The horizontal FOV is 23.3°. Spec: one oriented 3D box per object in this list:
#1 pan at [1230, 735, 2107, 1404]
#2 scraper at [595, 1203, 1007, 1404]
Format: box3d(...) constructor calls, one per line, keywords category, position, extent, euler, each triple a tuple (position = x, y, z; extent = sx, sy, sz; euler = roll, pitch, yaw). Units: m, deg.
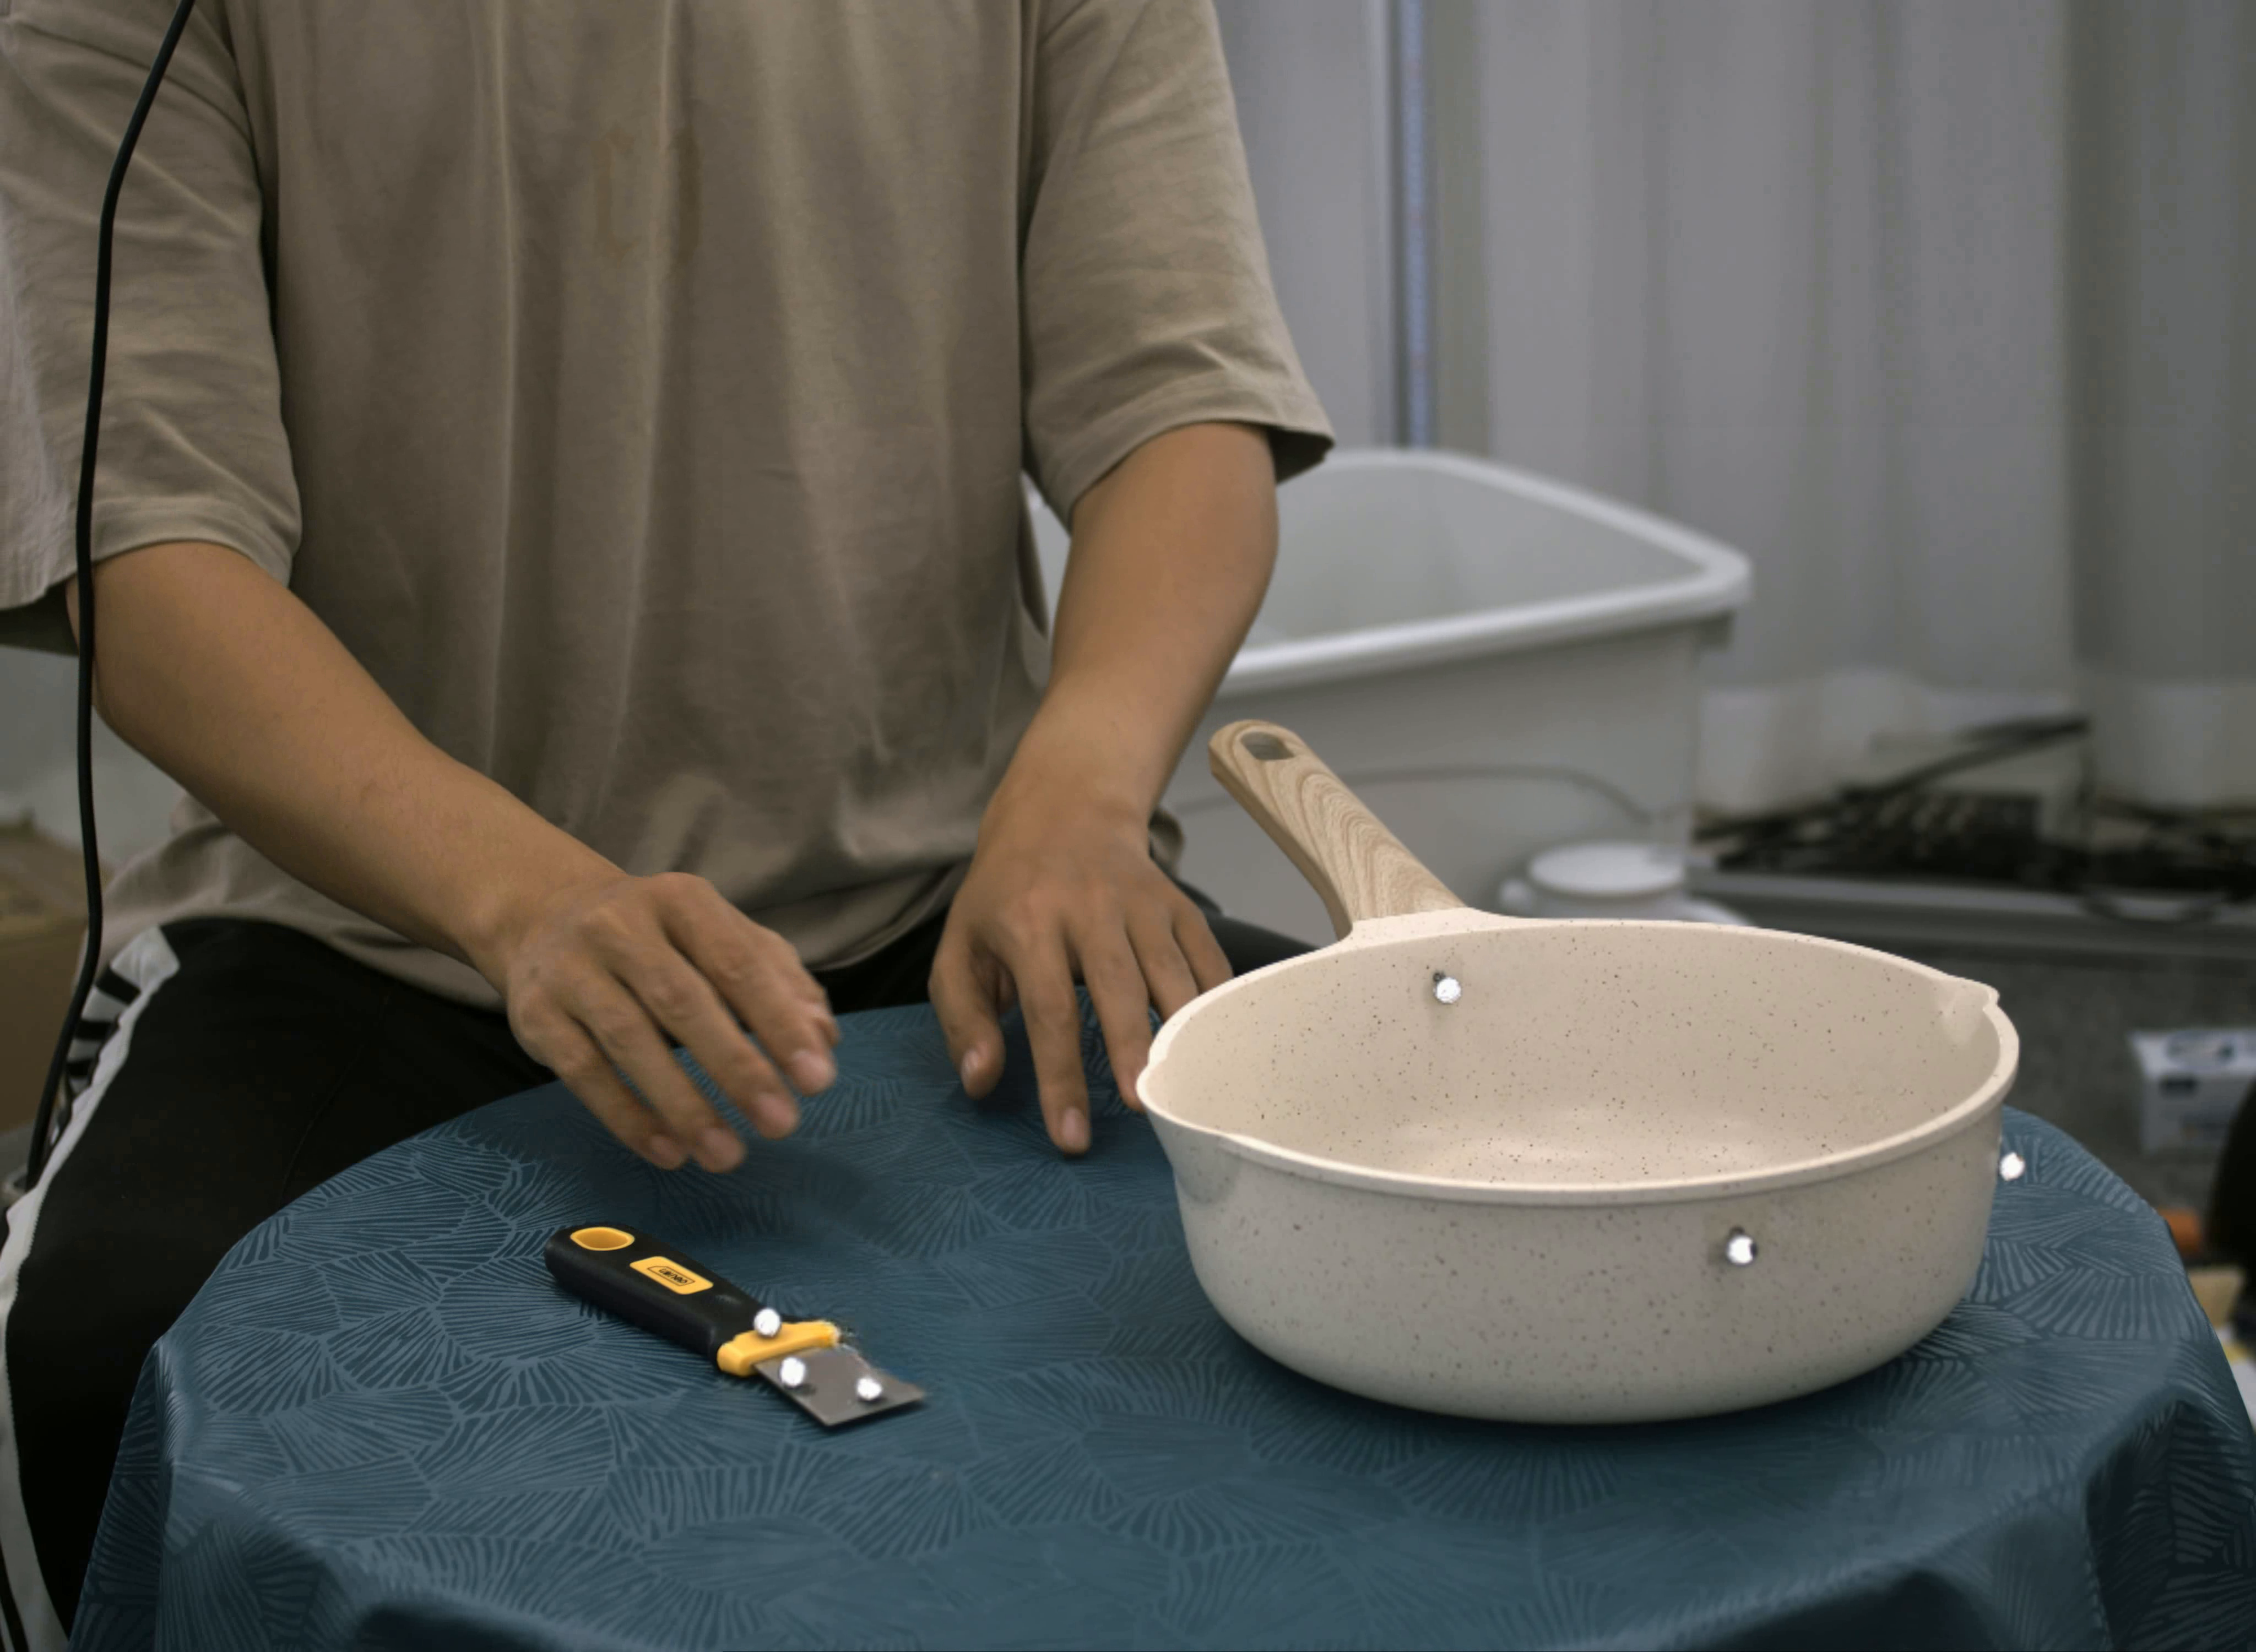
box3d(category="pan", position=(0.131, 0.067, 1.674), extent=(0.262, 0.101, 0.438), euler=(-10, 16, -15))
box3d(category="scraper", position=(-0.101, 0.139, 1.595), extent=(0.039, 0.015, 0.172), euler=(-18, 24, -35))
